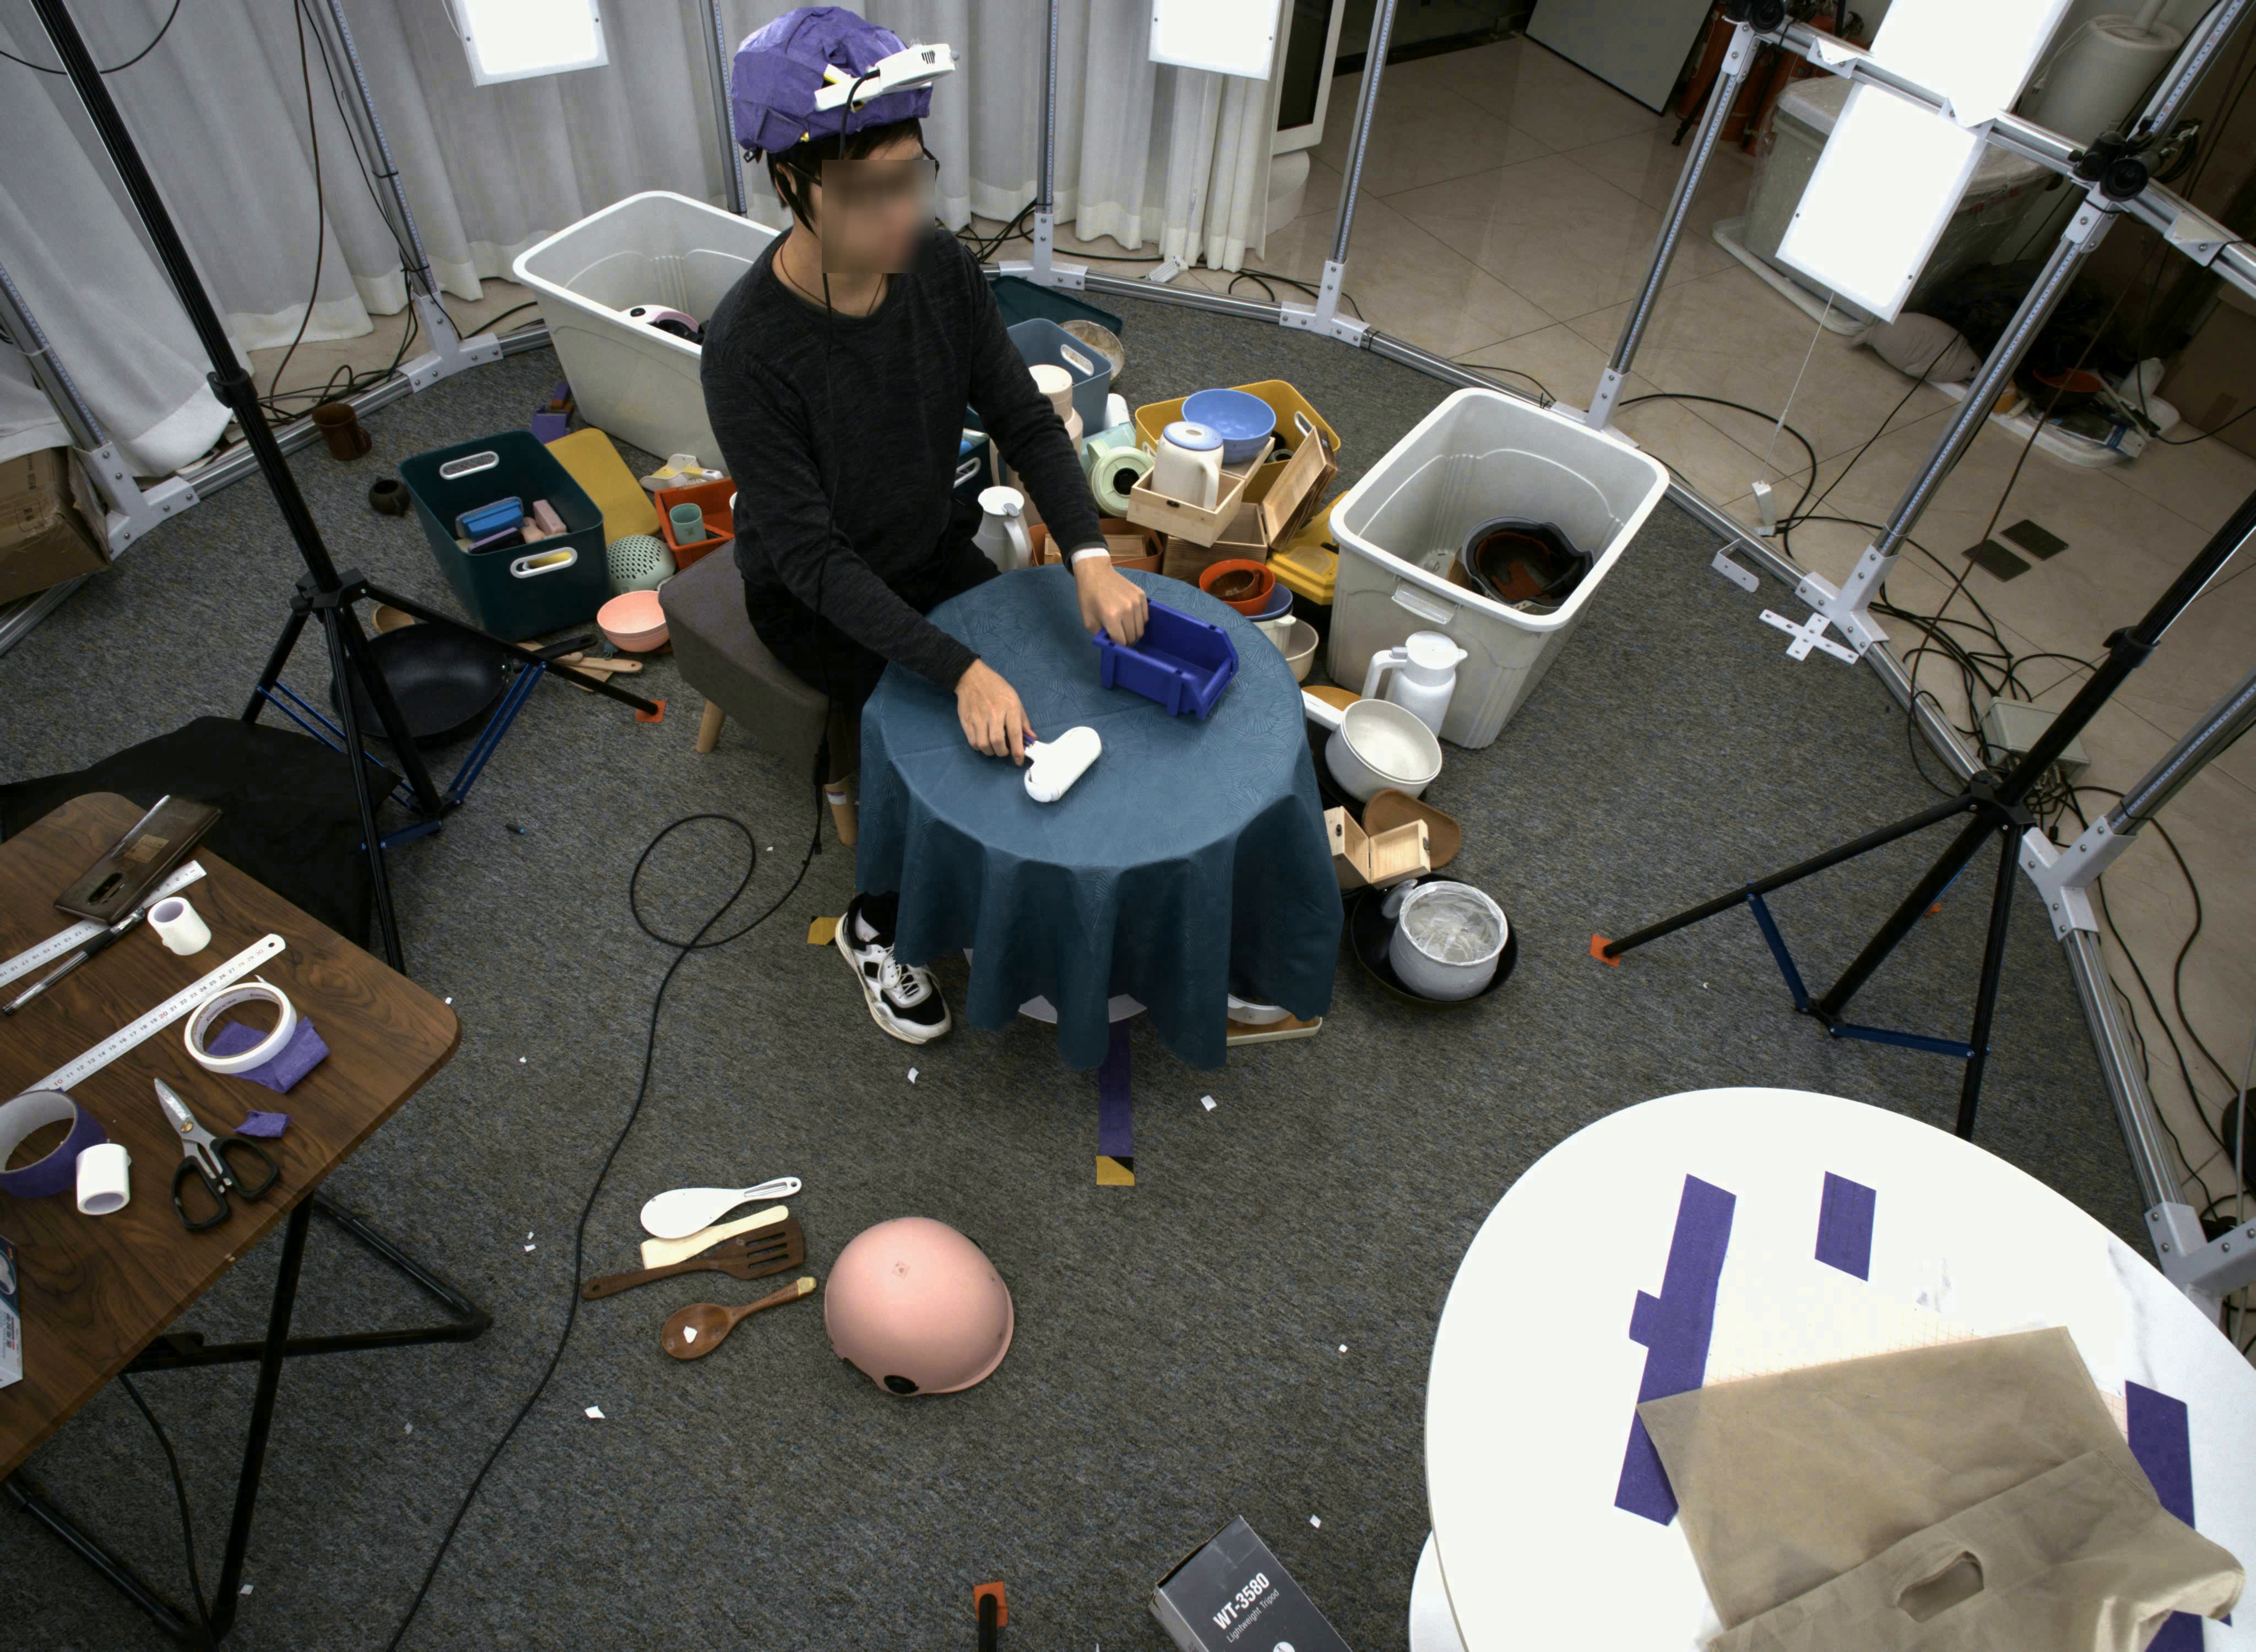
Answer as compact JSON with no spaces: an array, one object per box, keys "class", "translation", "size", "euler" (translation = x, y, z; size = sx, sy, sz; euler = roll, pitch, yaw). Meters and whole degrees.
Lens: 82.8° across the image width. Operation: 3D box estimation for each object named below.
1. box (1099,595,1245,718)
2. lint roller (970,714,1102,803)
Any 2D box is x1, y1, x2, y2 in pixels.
[{"class":"box","translation":[0.064,-0.238,1.824],"size":[0.181,0.080,0.126],"euler":[23,49,17]},{"class":"lint roller","translation":[-0.135,-0.115,1.725],"size":[0.182,0.049,0.135],"euler":[33,56,16]}]
